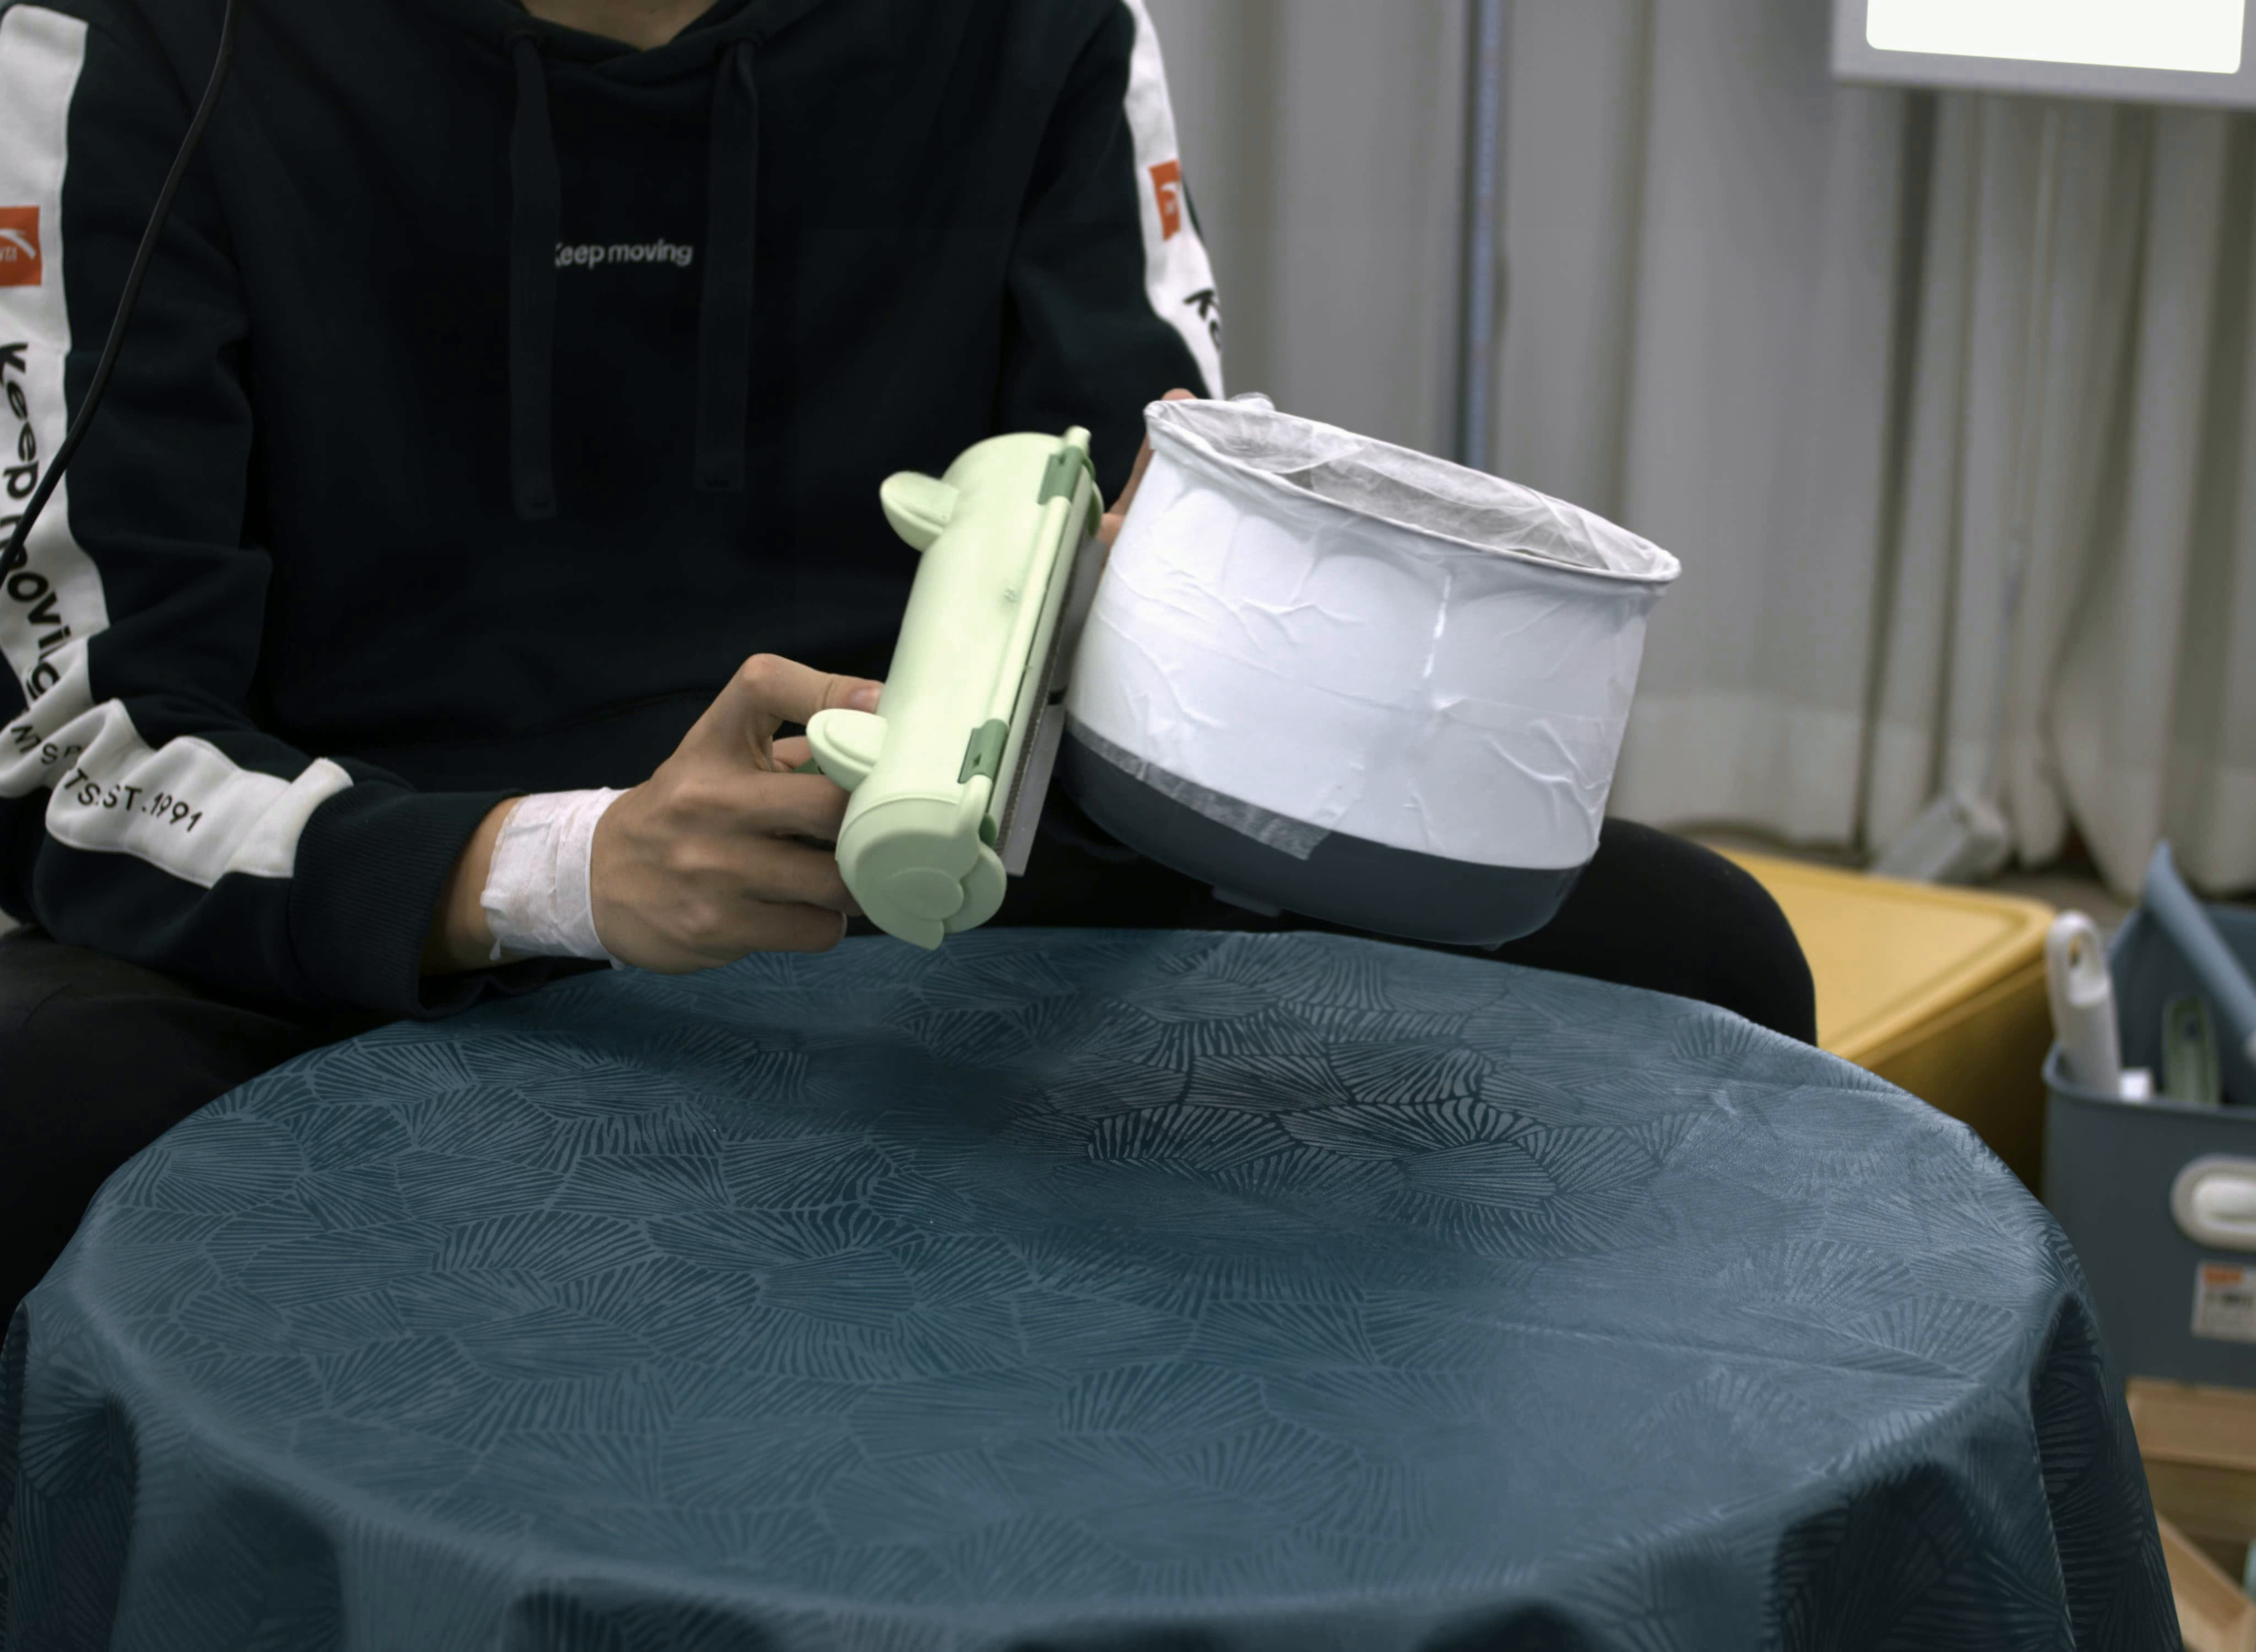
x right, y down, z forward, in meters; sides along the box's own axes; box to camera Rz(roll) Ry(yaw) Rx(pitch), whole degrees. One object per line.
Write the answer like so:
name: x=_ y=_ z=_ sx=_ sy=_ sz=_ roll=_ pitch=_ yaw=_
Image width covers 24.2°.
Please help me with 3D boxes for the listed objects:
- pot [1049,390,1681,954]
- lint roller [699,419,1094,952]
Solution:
pot: x=0.058 y=-0.057 z=1.690 sx=0.180 sy=0.137 sz=0.230 roll=10 pitch=14 yaw=-34
lint roller: x=-0.093 y=-0.029 z=1.680 sx=0.182 sy=0.083 sz=0.197 roll=-30 pitch=32 yaw=33
